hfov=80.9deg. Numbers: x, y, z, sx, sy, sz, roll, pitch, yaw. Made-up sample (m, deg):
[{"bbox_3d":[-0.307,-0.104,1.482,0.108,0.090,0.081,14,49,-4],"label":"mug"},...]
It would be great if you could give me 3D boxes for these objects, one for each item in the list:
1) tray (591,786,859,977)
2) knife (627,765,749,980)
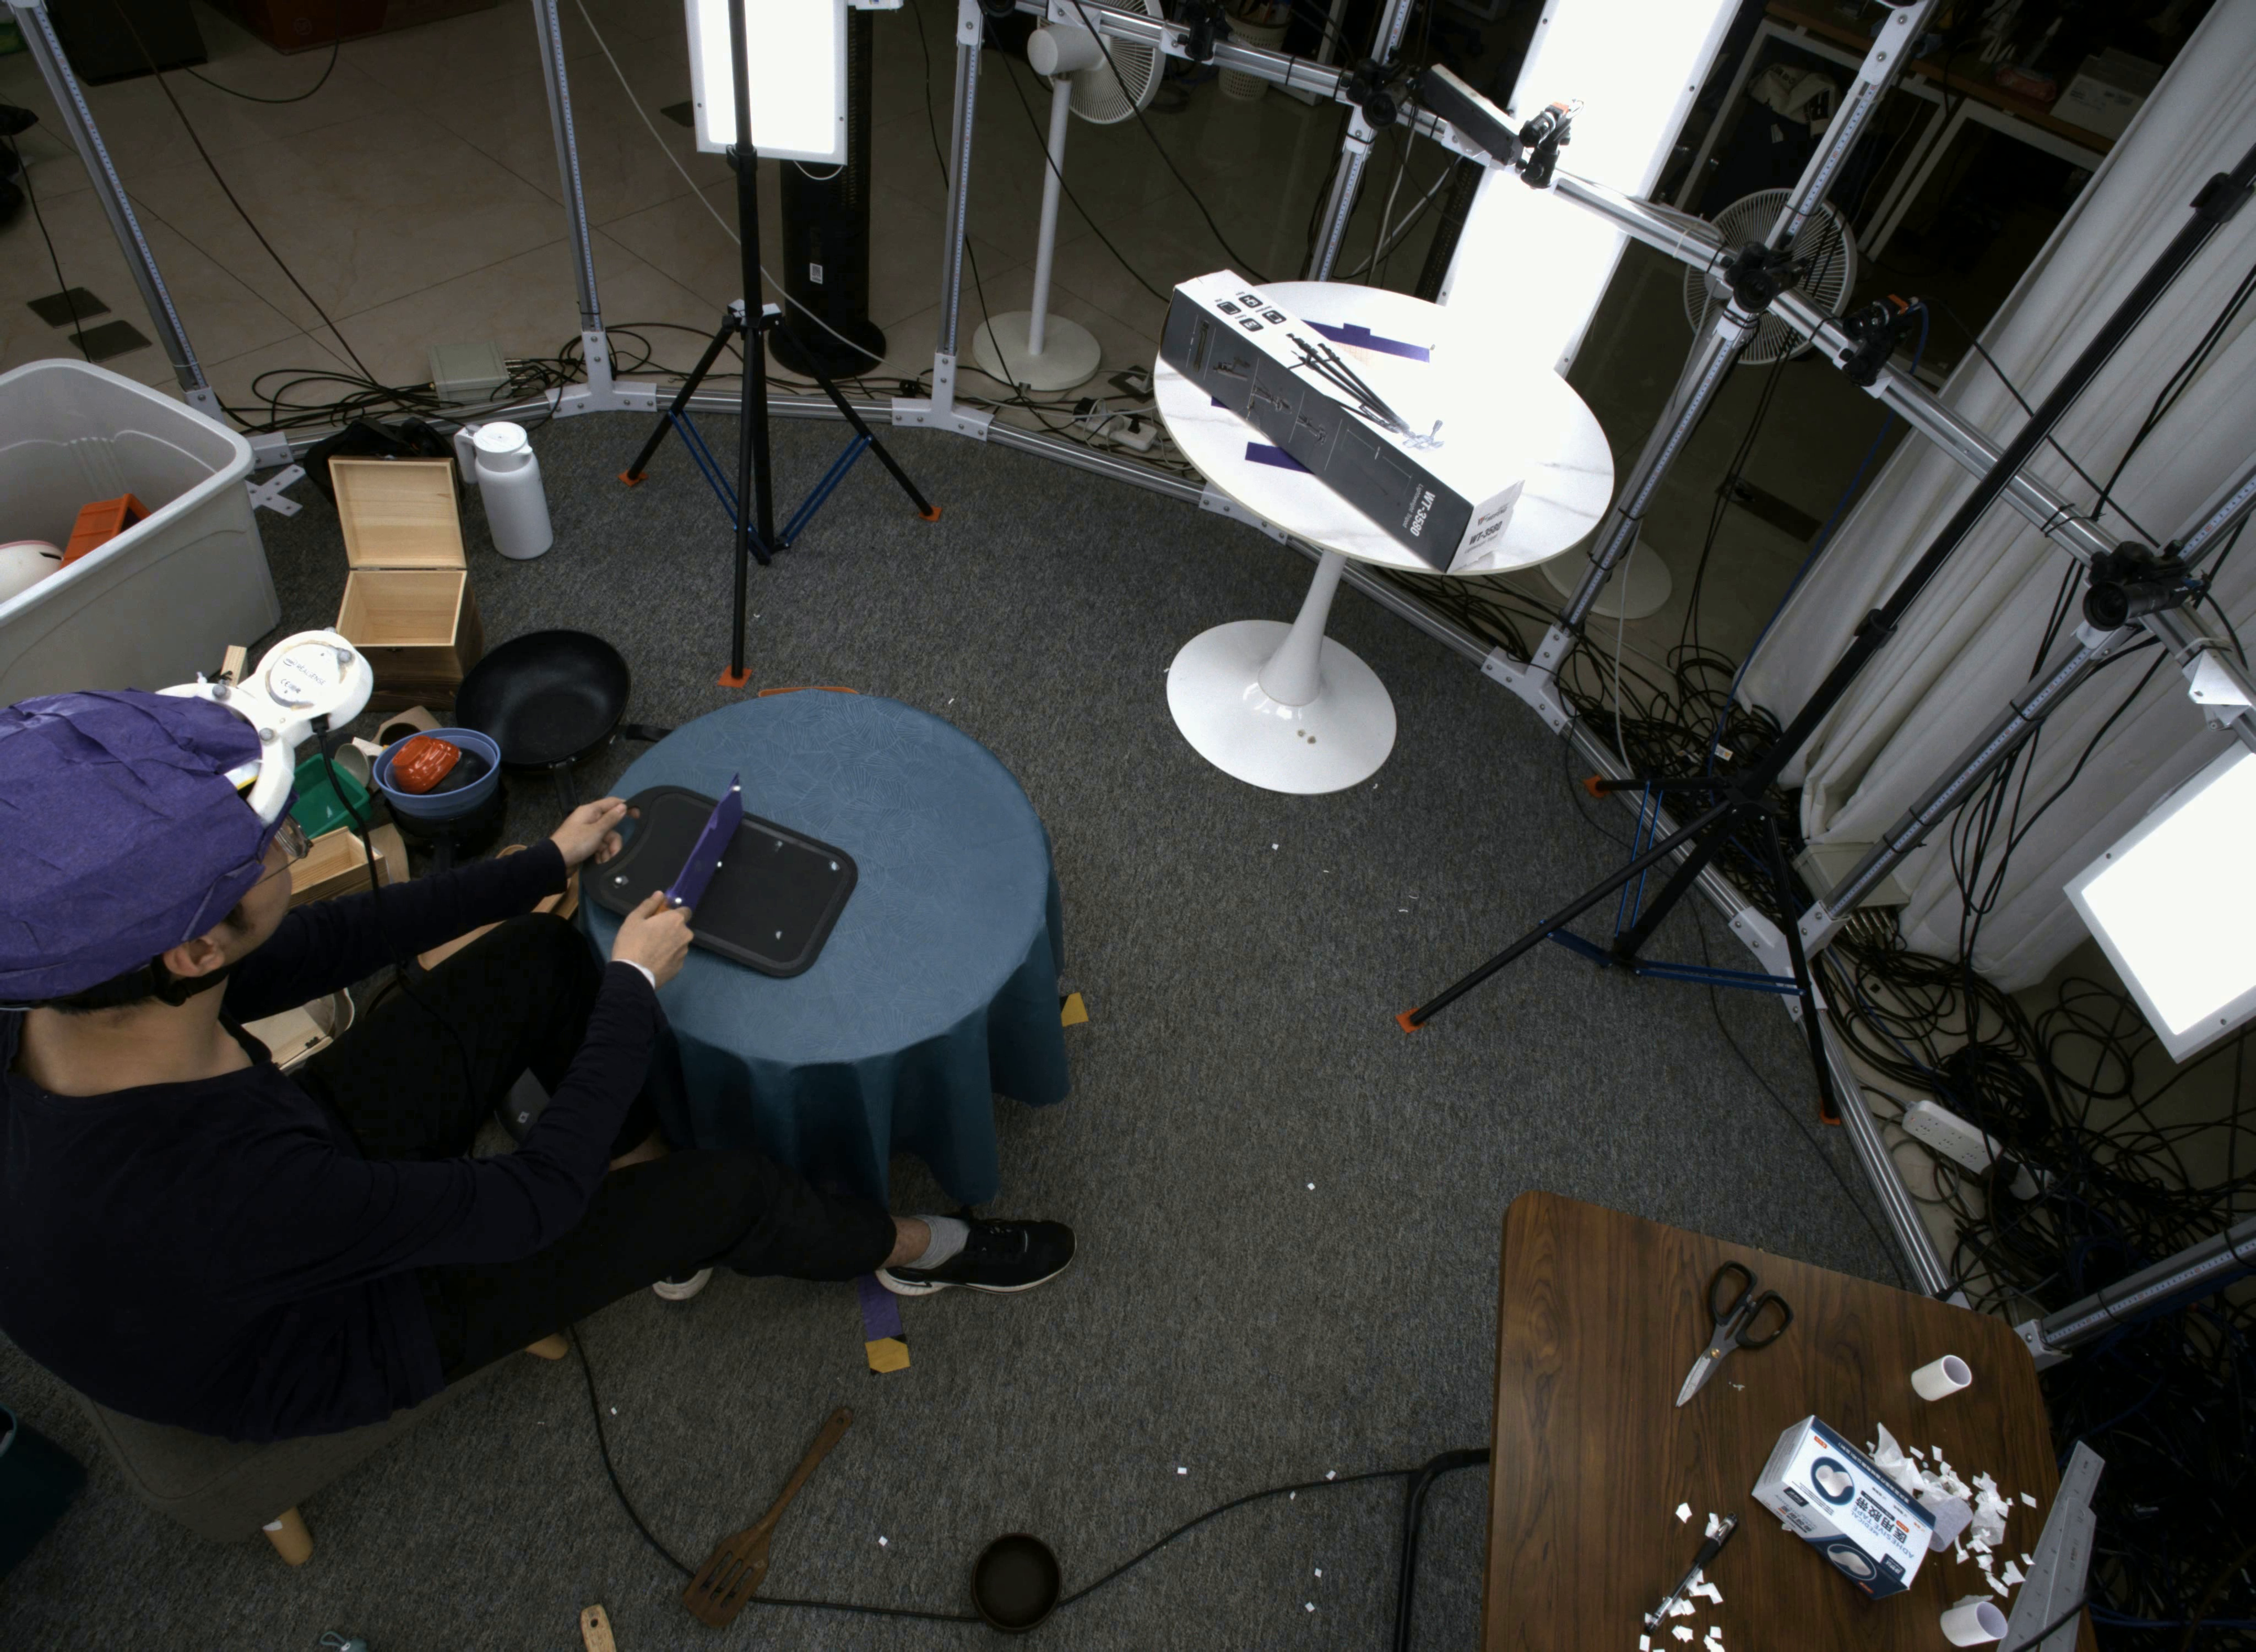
[{"bbox_3d":[-0.520,0.061,1.644,0.324,0.010,0.209,23,51,-4],"label":"tray"},{"bbox_3d":[-0.526,0.069,1.572,0.032,0.106,0.311,13,50,4],"label":"knife"}]
